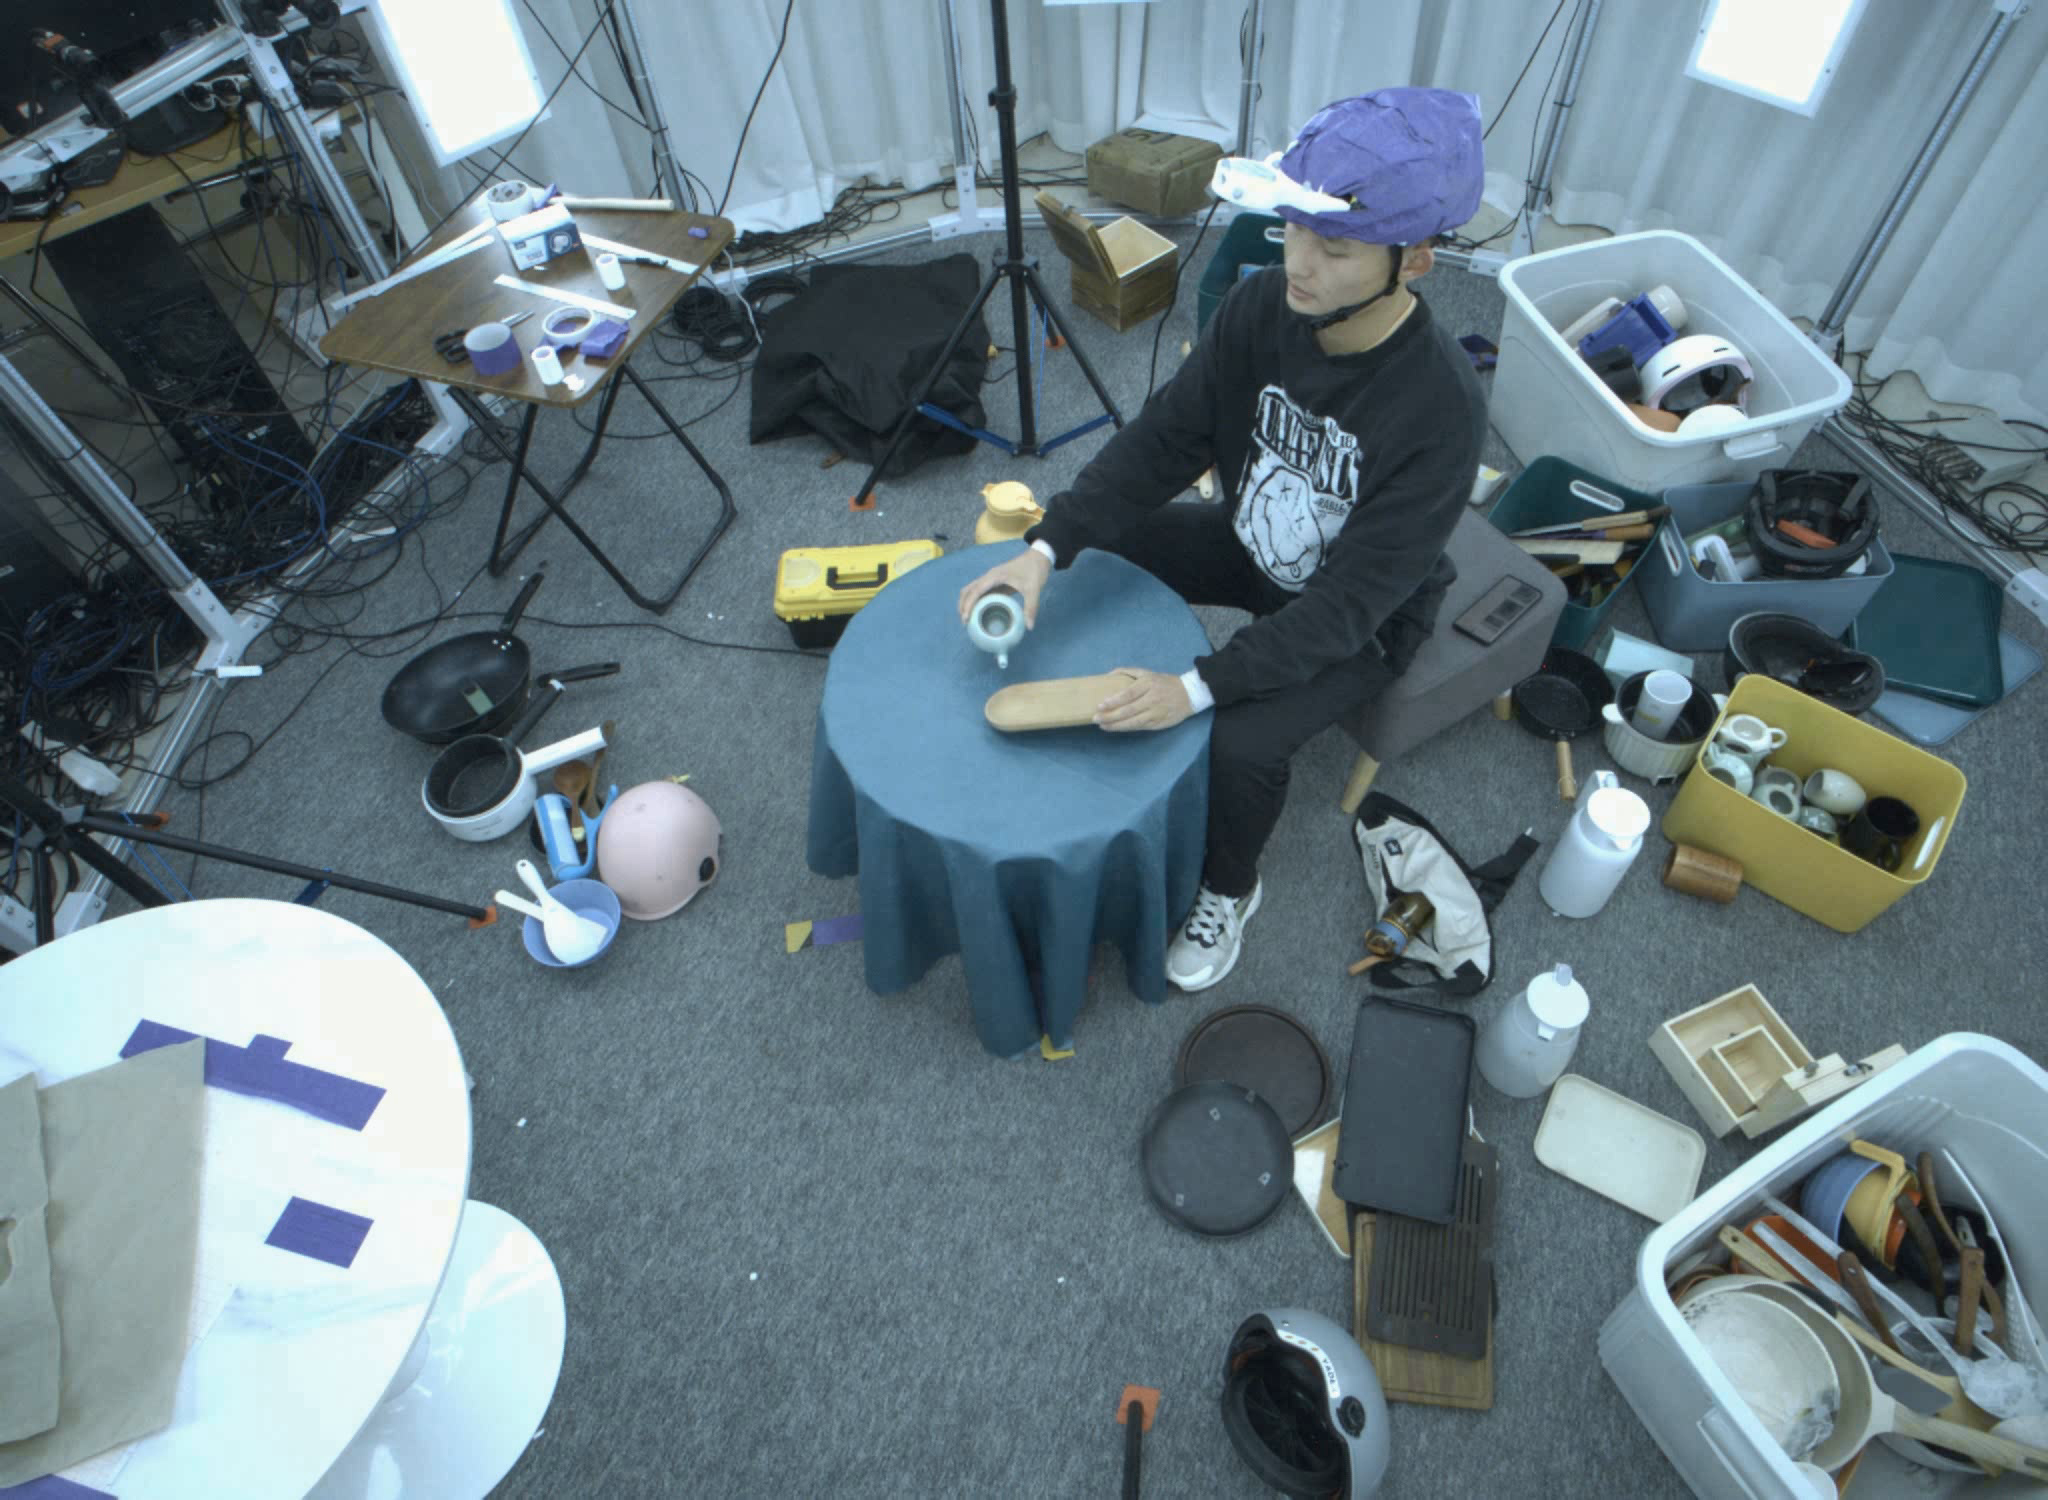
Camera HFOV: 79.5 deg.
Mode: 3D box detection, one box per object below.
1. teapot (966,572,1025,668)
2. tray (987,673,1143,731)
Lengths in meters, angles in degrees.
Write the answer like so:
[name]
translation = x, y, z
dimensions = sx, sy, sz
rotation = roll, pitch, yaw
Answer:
[teapot]
translation = -0.043, -0.190, 1.817
dimensions = 0.088, 0.074, 0.144
rotation = -7, 89, -3
[tray]
translation = 0.059, -0.069, 1.787
dimensions = 0.229, 0.020, 0.101
rotation = -4, 41, 11
